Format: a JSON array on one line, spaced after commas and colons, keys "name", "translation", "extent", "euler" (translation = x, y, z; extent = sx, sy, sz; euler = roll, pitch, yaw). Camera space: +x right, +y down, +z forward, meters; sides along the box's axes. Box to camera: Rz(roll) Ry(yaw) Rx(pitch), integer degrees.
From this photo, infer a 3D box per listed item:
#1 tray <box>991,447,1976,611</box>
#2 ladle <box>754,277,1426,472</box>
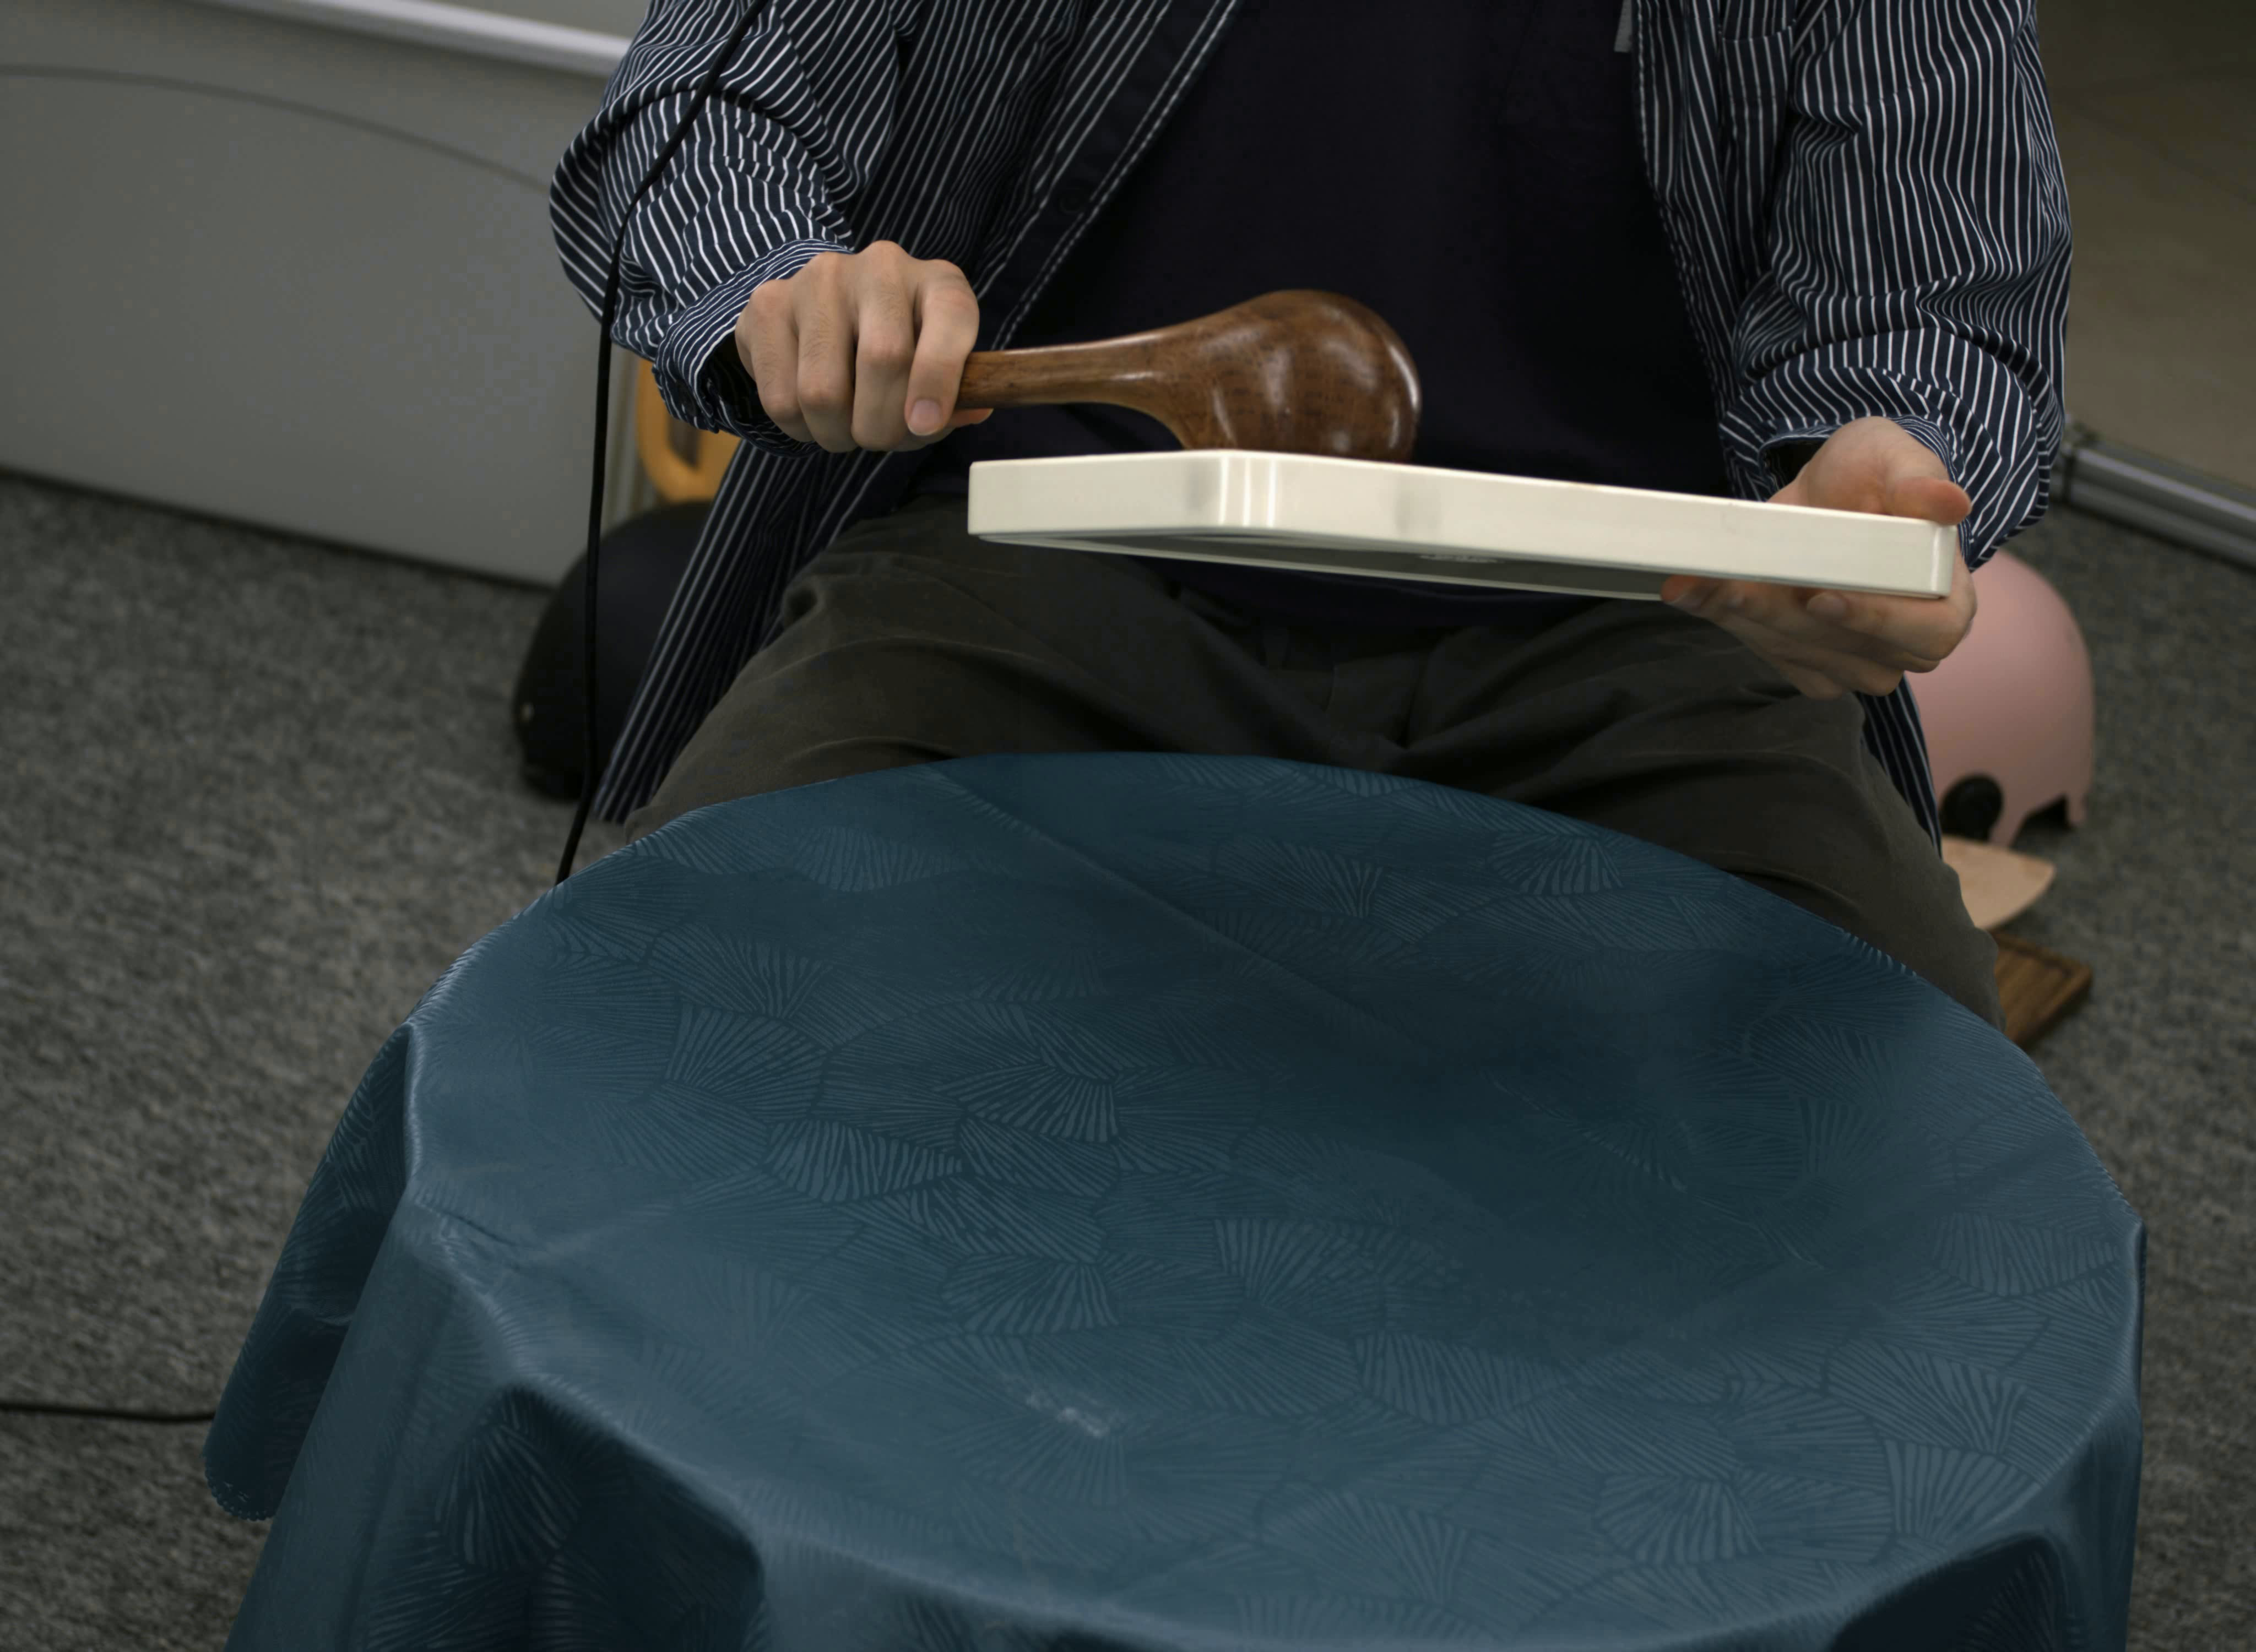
[{"name": "tray", "translation": [0.121, -0.100, 1.832], "extent": [0.298, 0.027, 0.192], "euler": [4, -1, -29]}, {"name": "ladle", "translation": [-0.014, -0.145, 1.829], "extent": [0.275, 0.082, 0.076], "euler": [1, -30, 47]}]
